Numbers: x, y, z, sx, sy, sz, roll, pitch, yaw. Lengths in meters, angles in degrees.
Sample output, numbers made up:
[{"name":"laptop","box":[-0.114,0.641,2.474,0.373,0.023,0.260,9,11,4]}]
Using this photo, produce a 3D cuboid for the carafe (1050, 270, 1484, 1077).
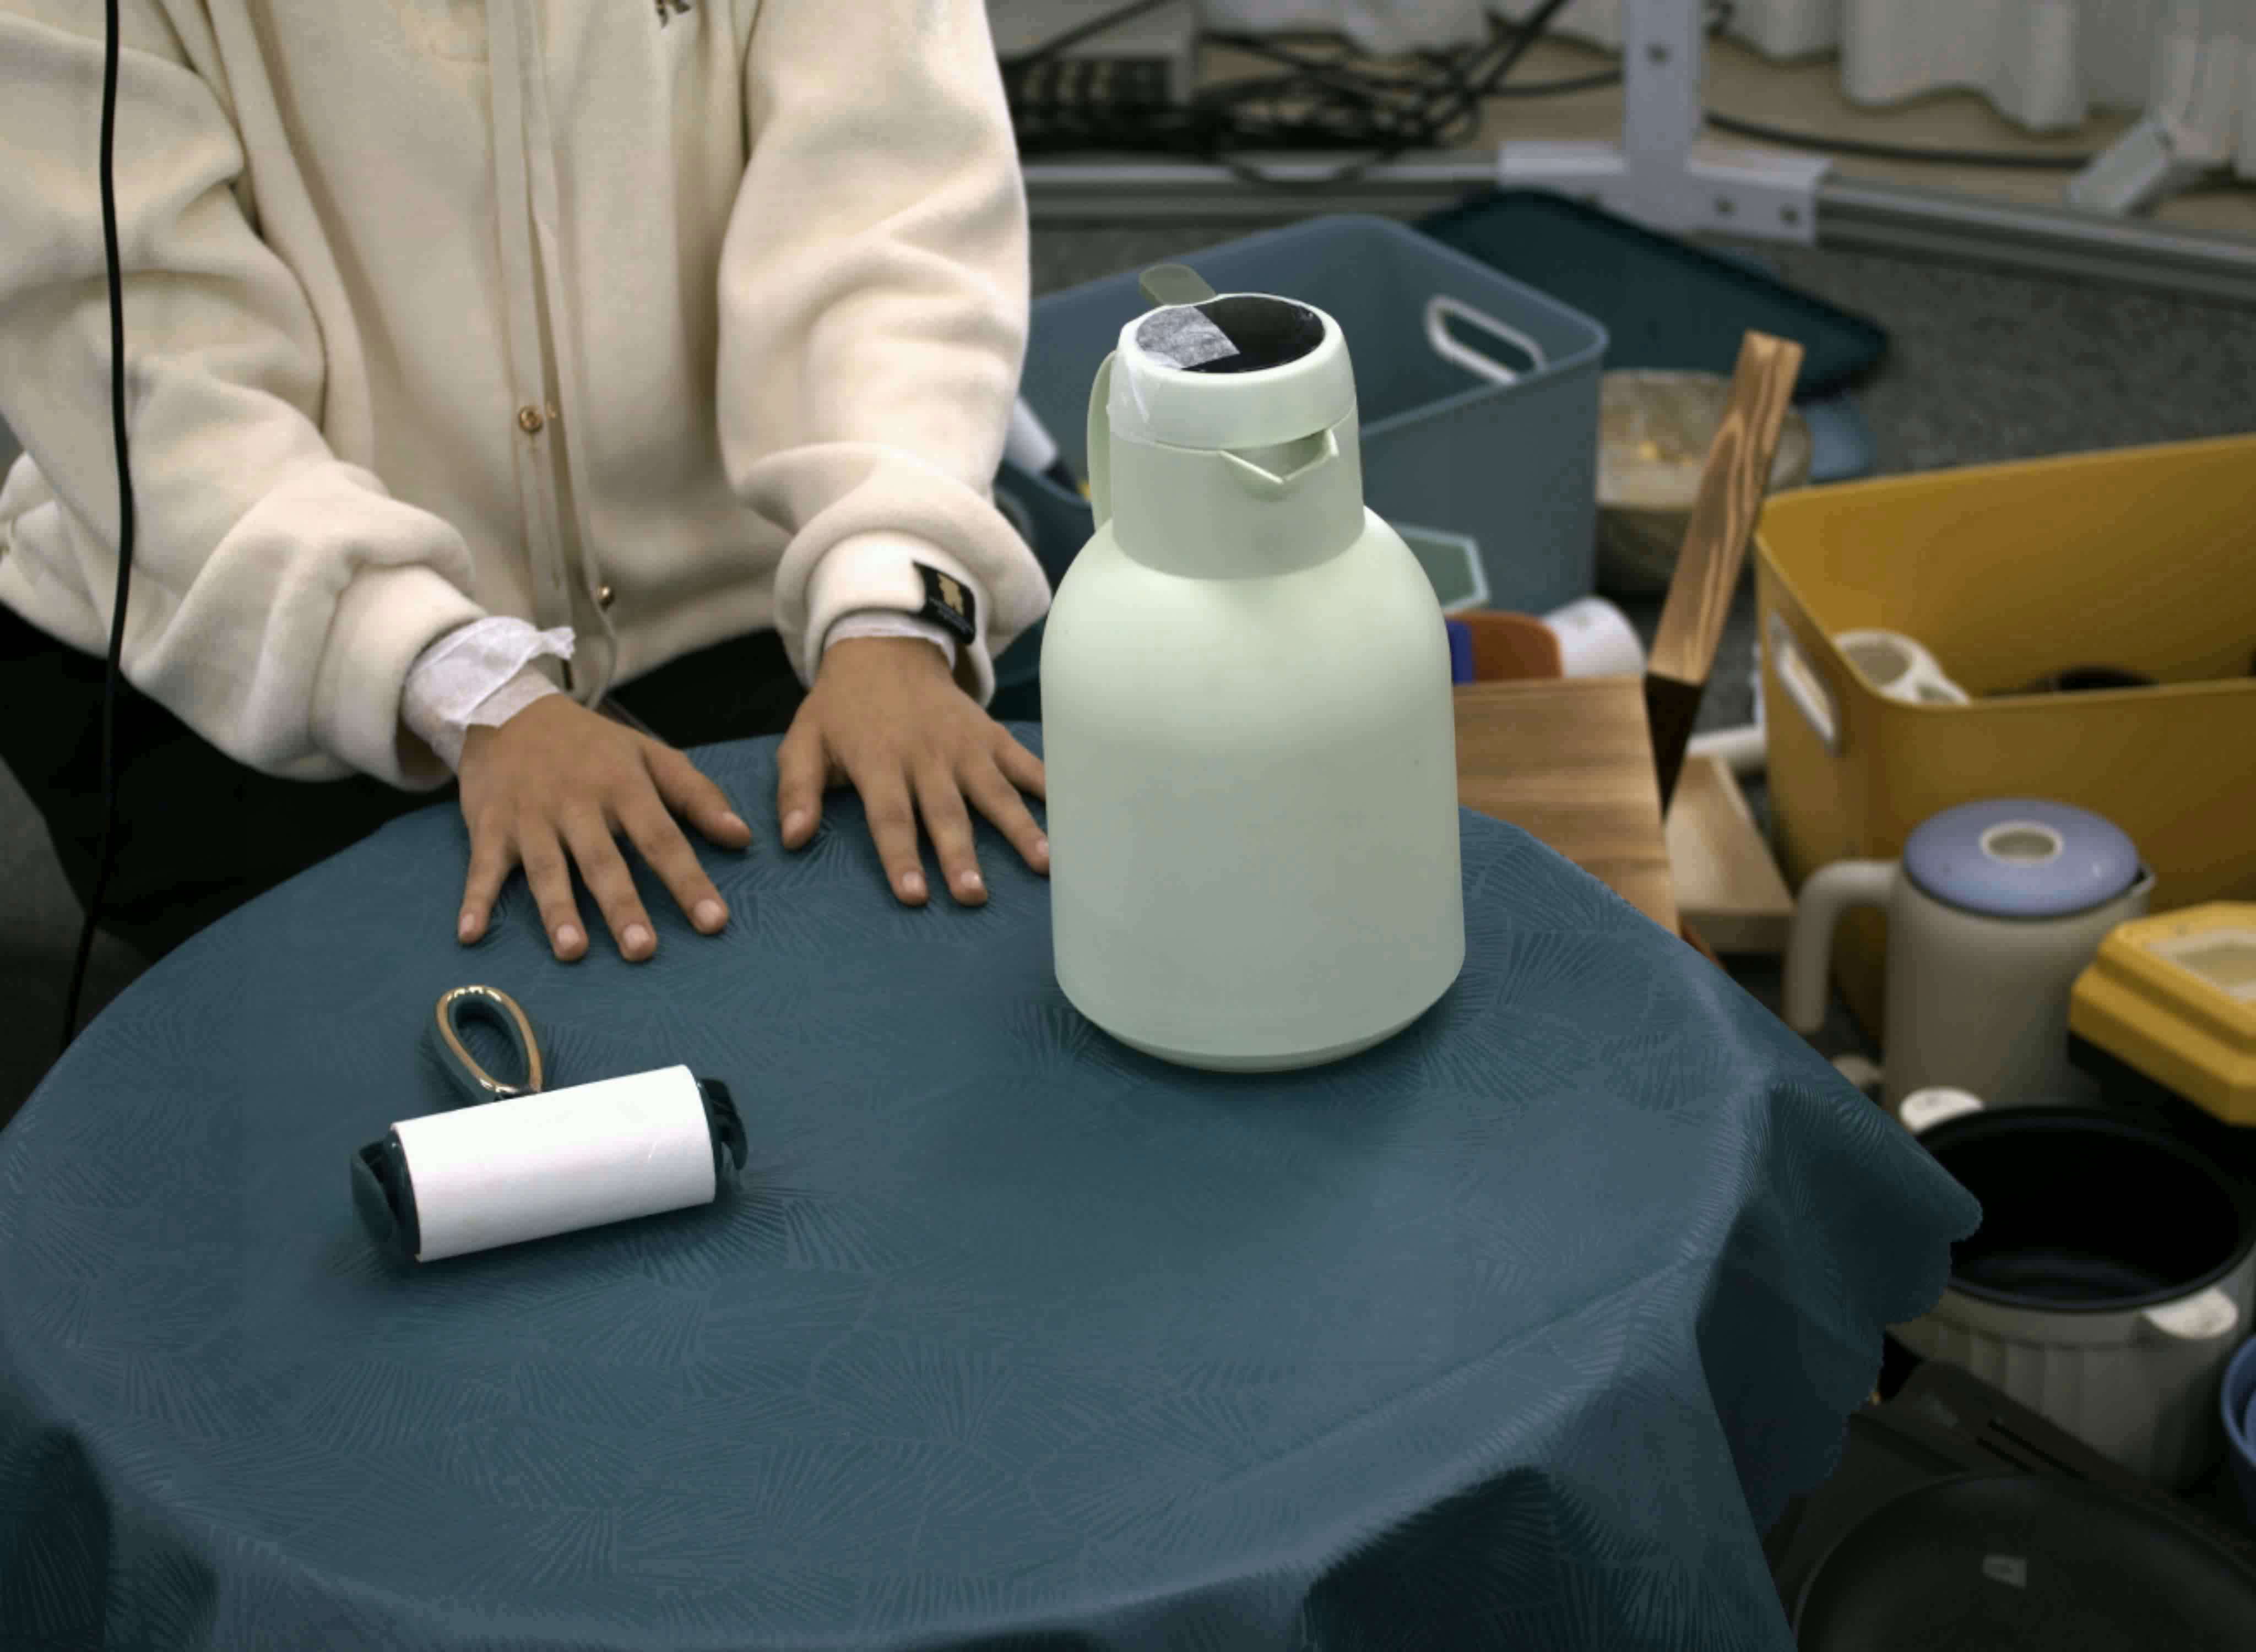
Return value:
[{"name":"carafe","box":[0.038,-0.058,1.938,0.144,0.254,0.188,-14,24,-16]}]

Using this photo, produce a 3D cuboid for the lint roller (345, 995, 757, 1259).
[{"name":"lint roller","box":[-0.209,0.082,1.906,0.134,0.048,0.182,-10,28,-15]}]
